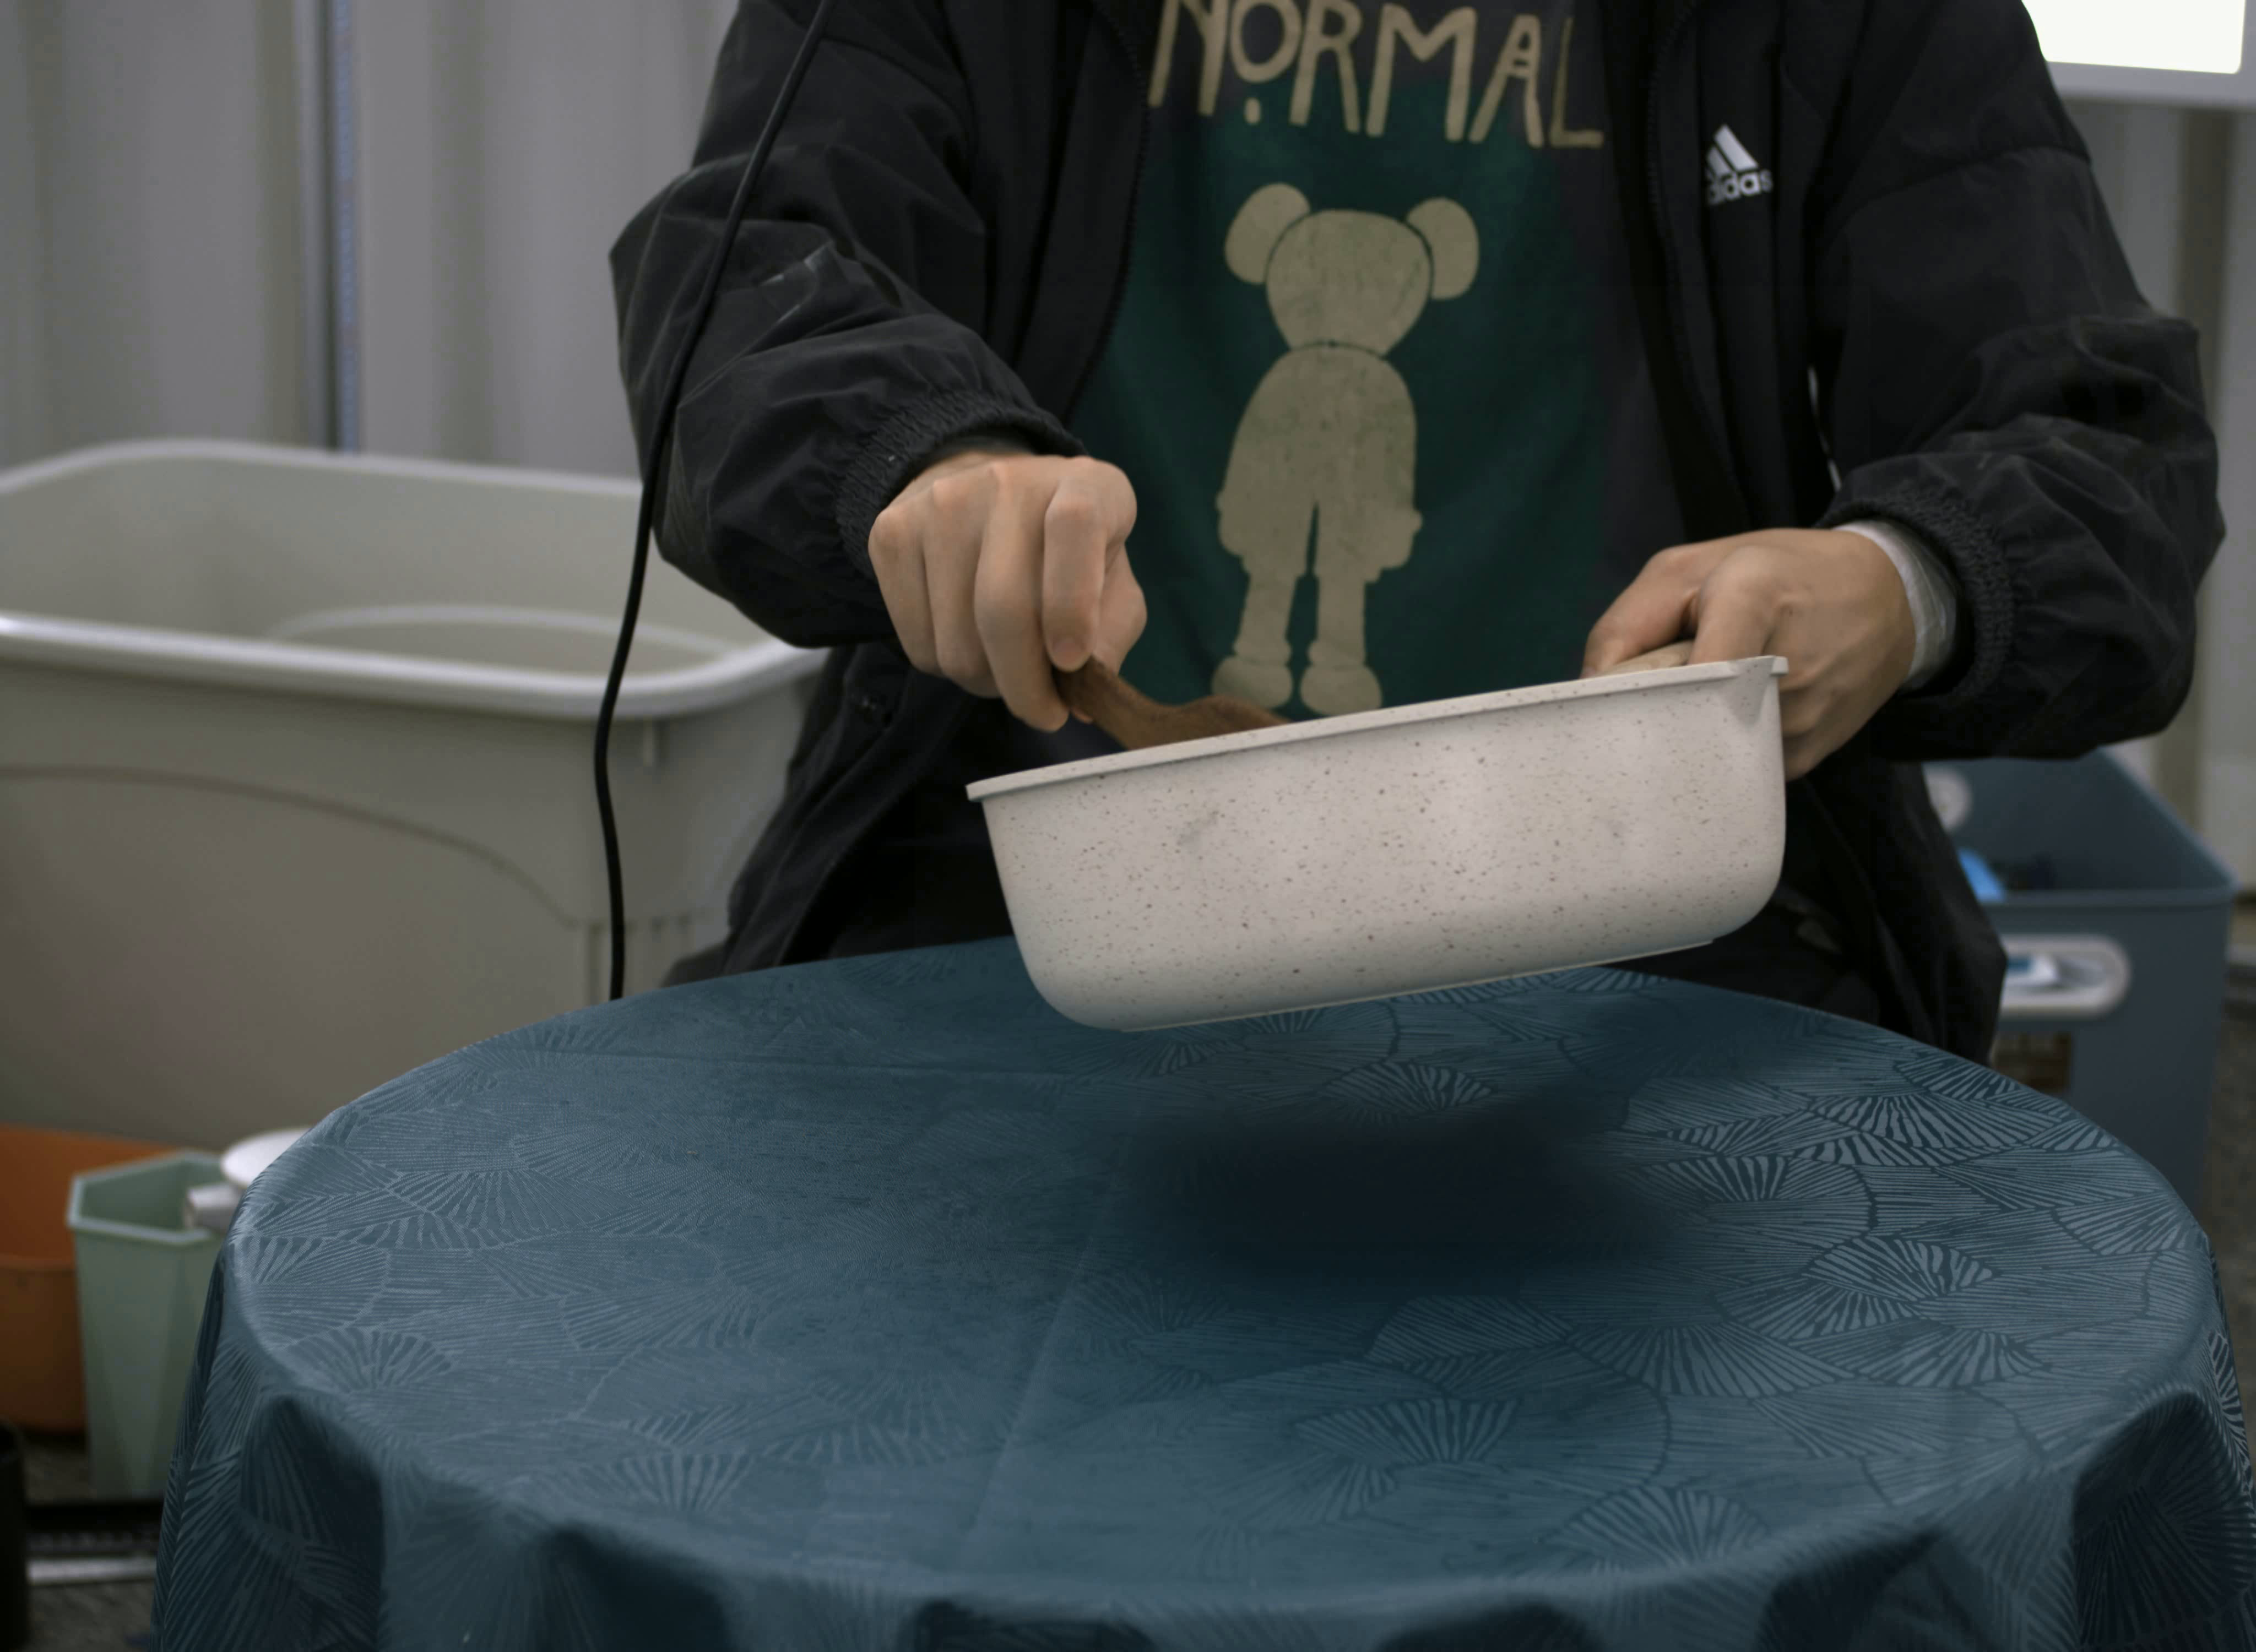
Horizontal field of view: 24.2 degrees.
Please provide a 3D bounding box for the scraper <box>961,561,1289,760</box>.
[{"bbox_3d":[0.001,-0.031,1.610,0.011,0.076,0.208,-15,32,-28],"label":"scraper"}]

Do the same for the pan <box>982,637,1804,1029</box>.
[{"bbox_3d":[0.128,-0.006,1.671,0.261,0.102,0.437,-11,-2,28],"label":"pan"}]
